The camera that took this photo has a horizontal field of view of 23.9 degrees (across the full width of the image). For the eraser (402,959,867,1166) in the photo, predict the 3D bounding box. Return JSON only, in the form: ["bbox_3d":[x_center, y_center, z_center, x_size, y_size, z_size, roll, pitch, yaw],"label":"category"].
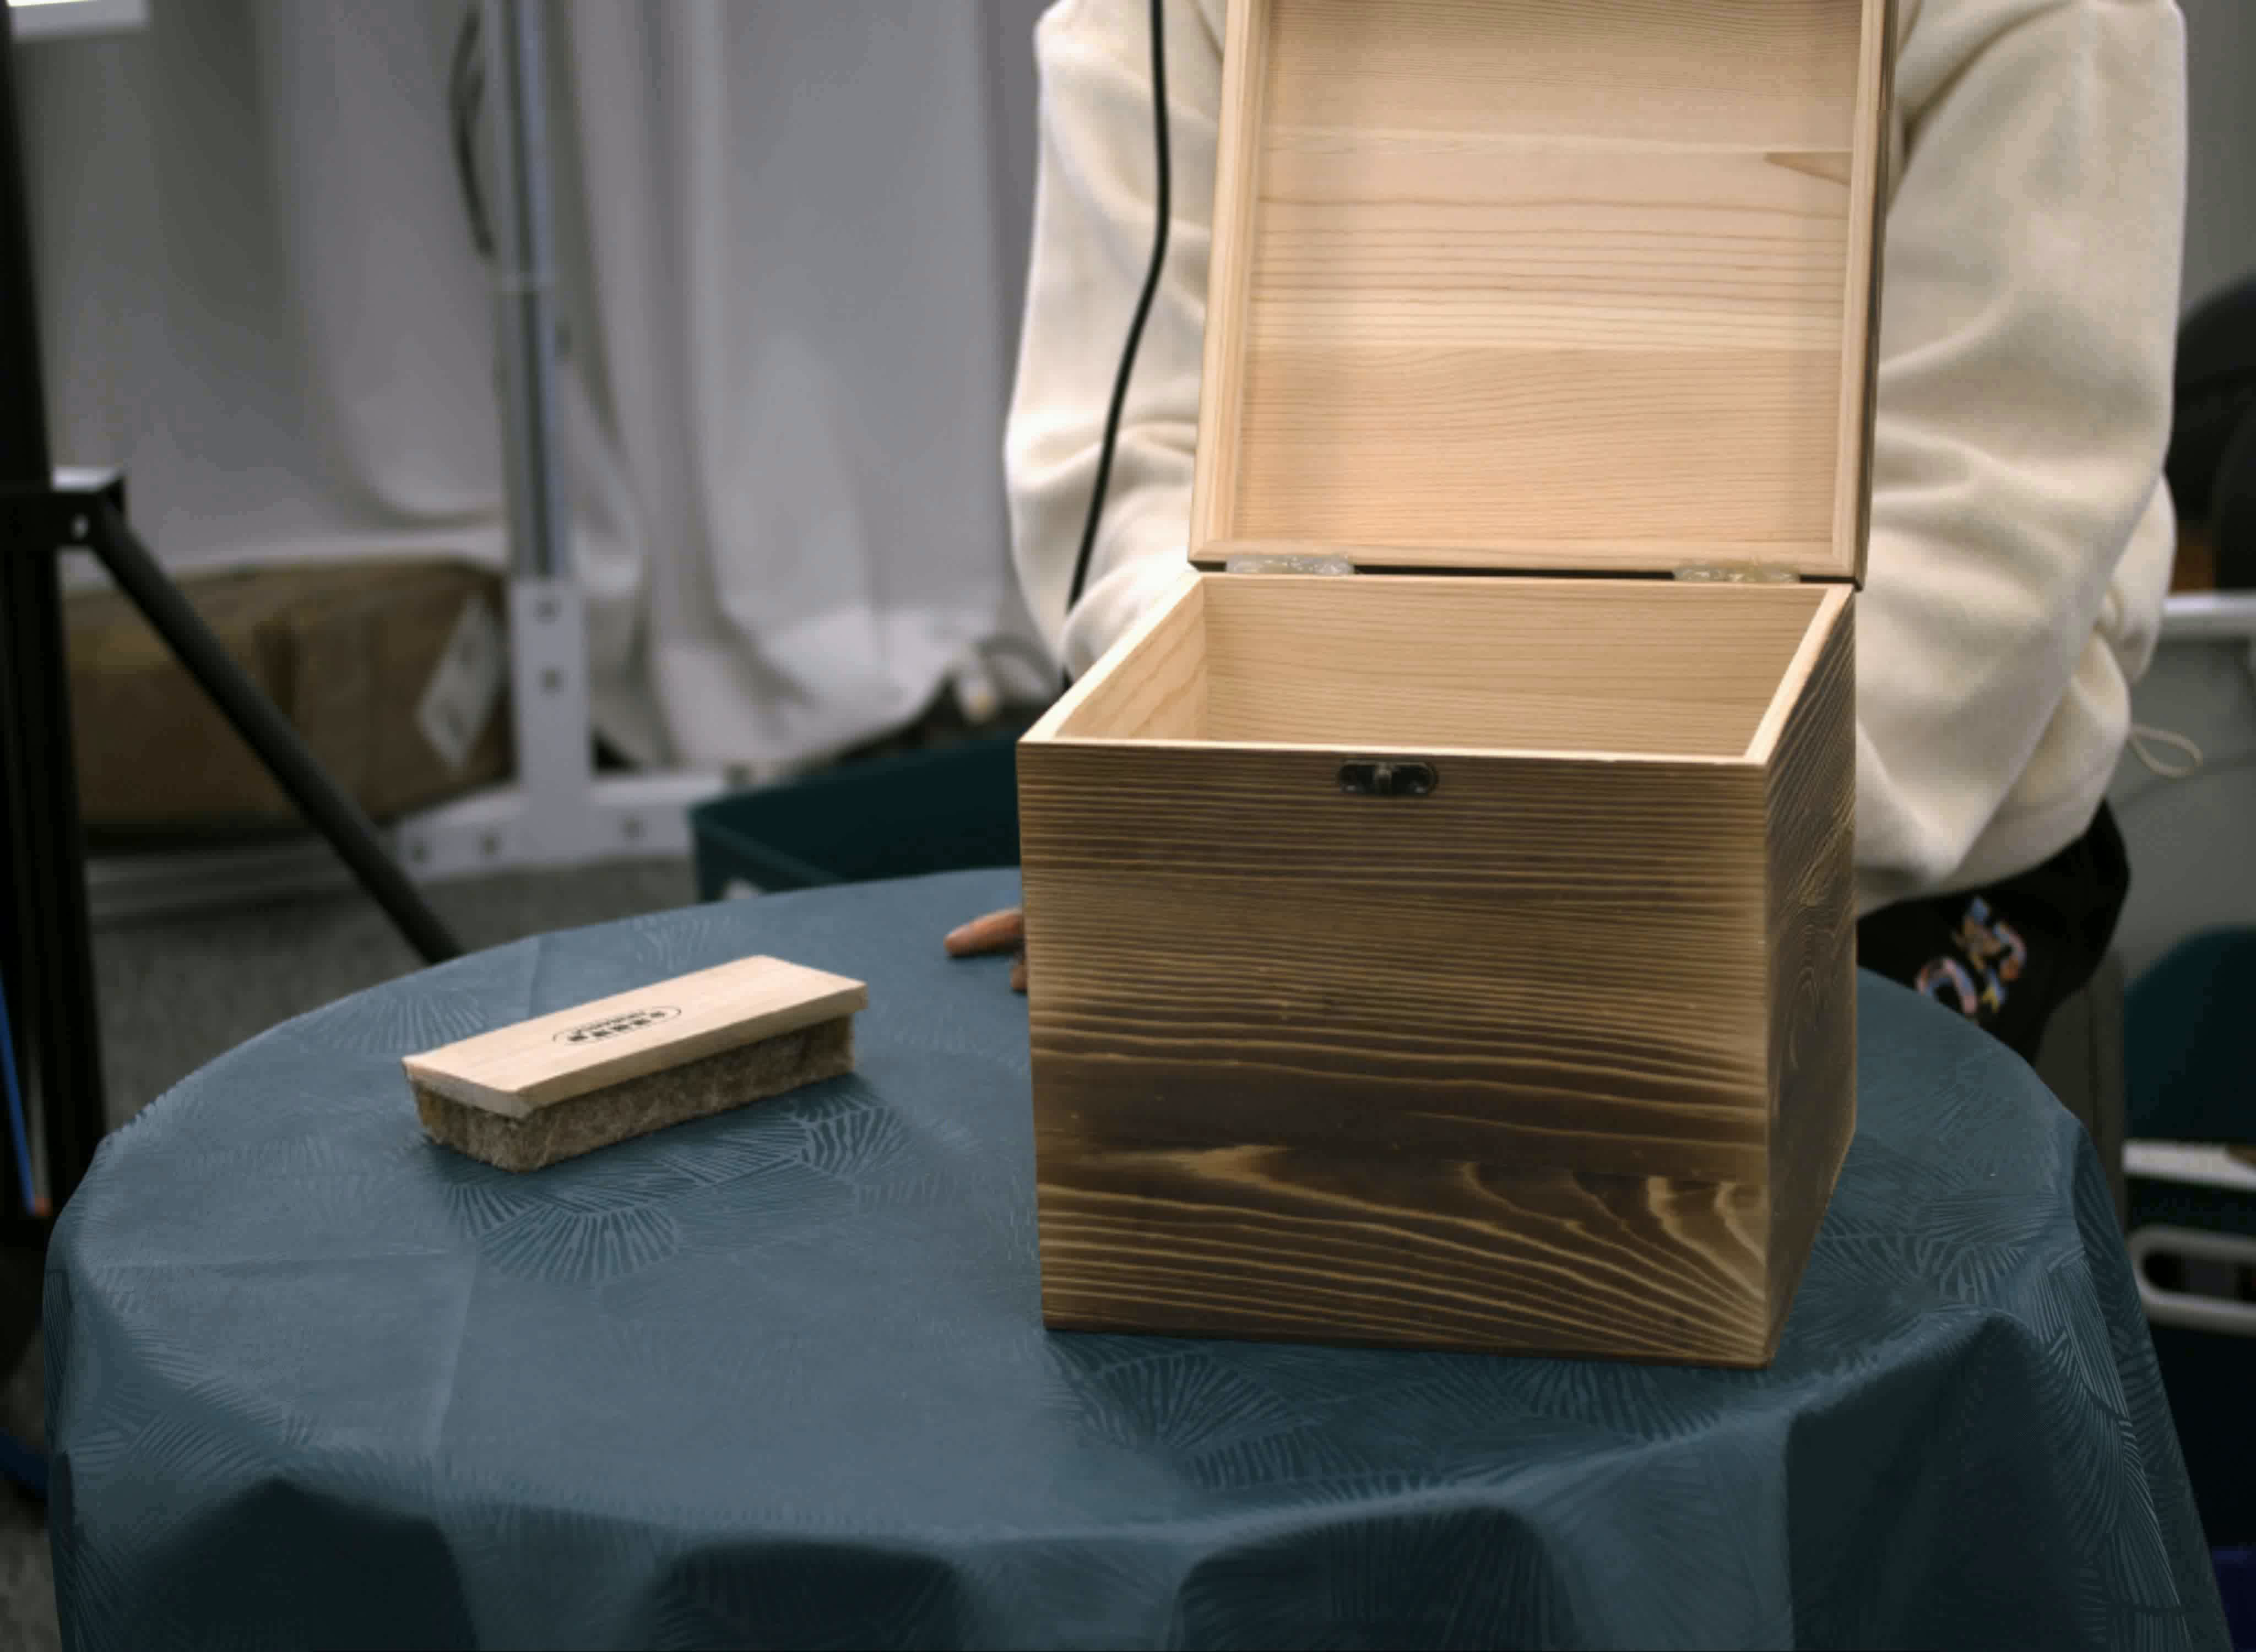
[{"bbox_3d":[-0.152,0.073,1.655,0.136,0.029,0.058,-14,17,-37],"label":"eraser"}]

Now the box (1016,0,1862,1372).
[{"bbox_3d":[0.100,-0.073,1.516,0.210,0.375,0.320,1,16,14],"label":"box"}]
